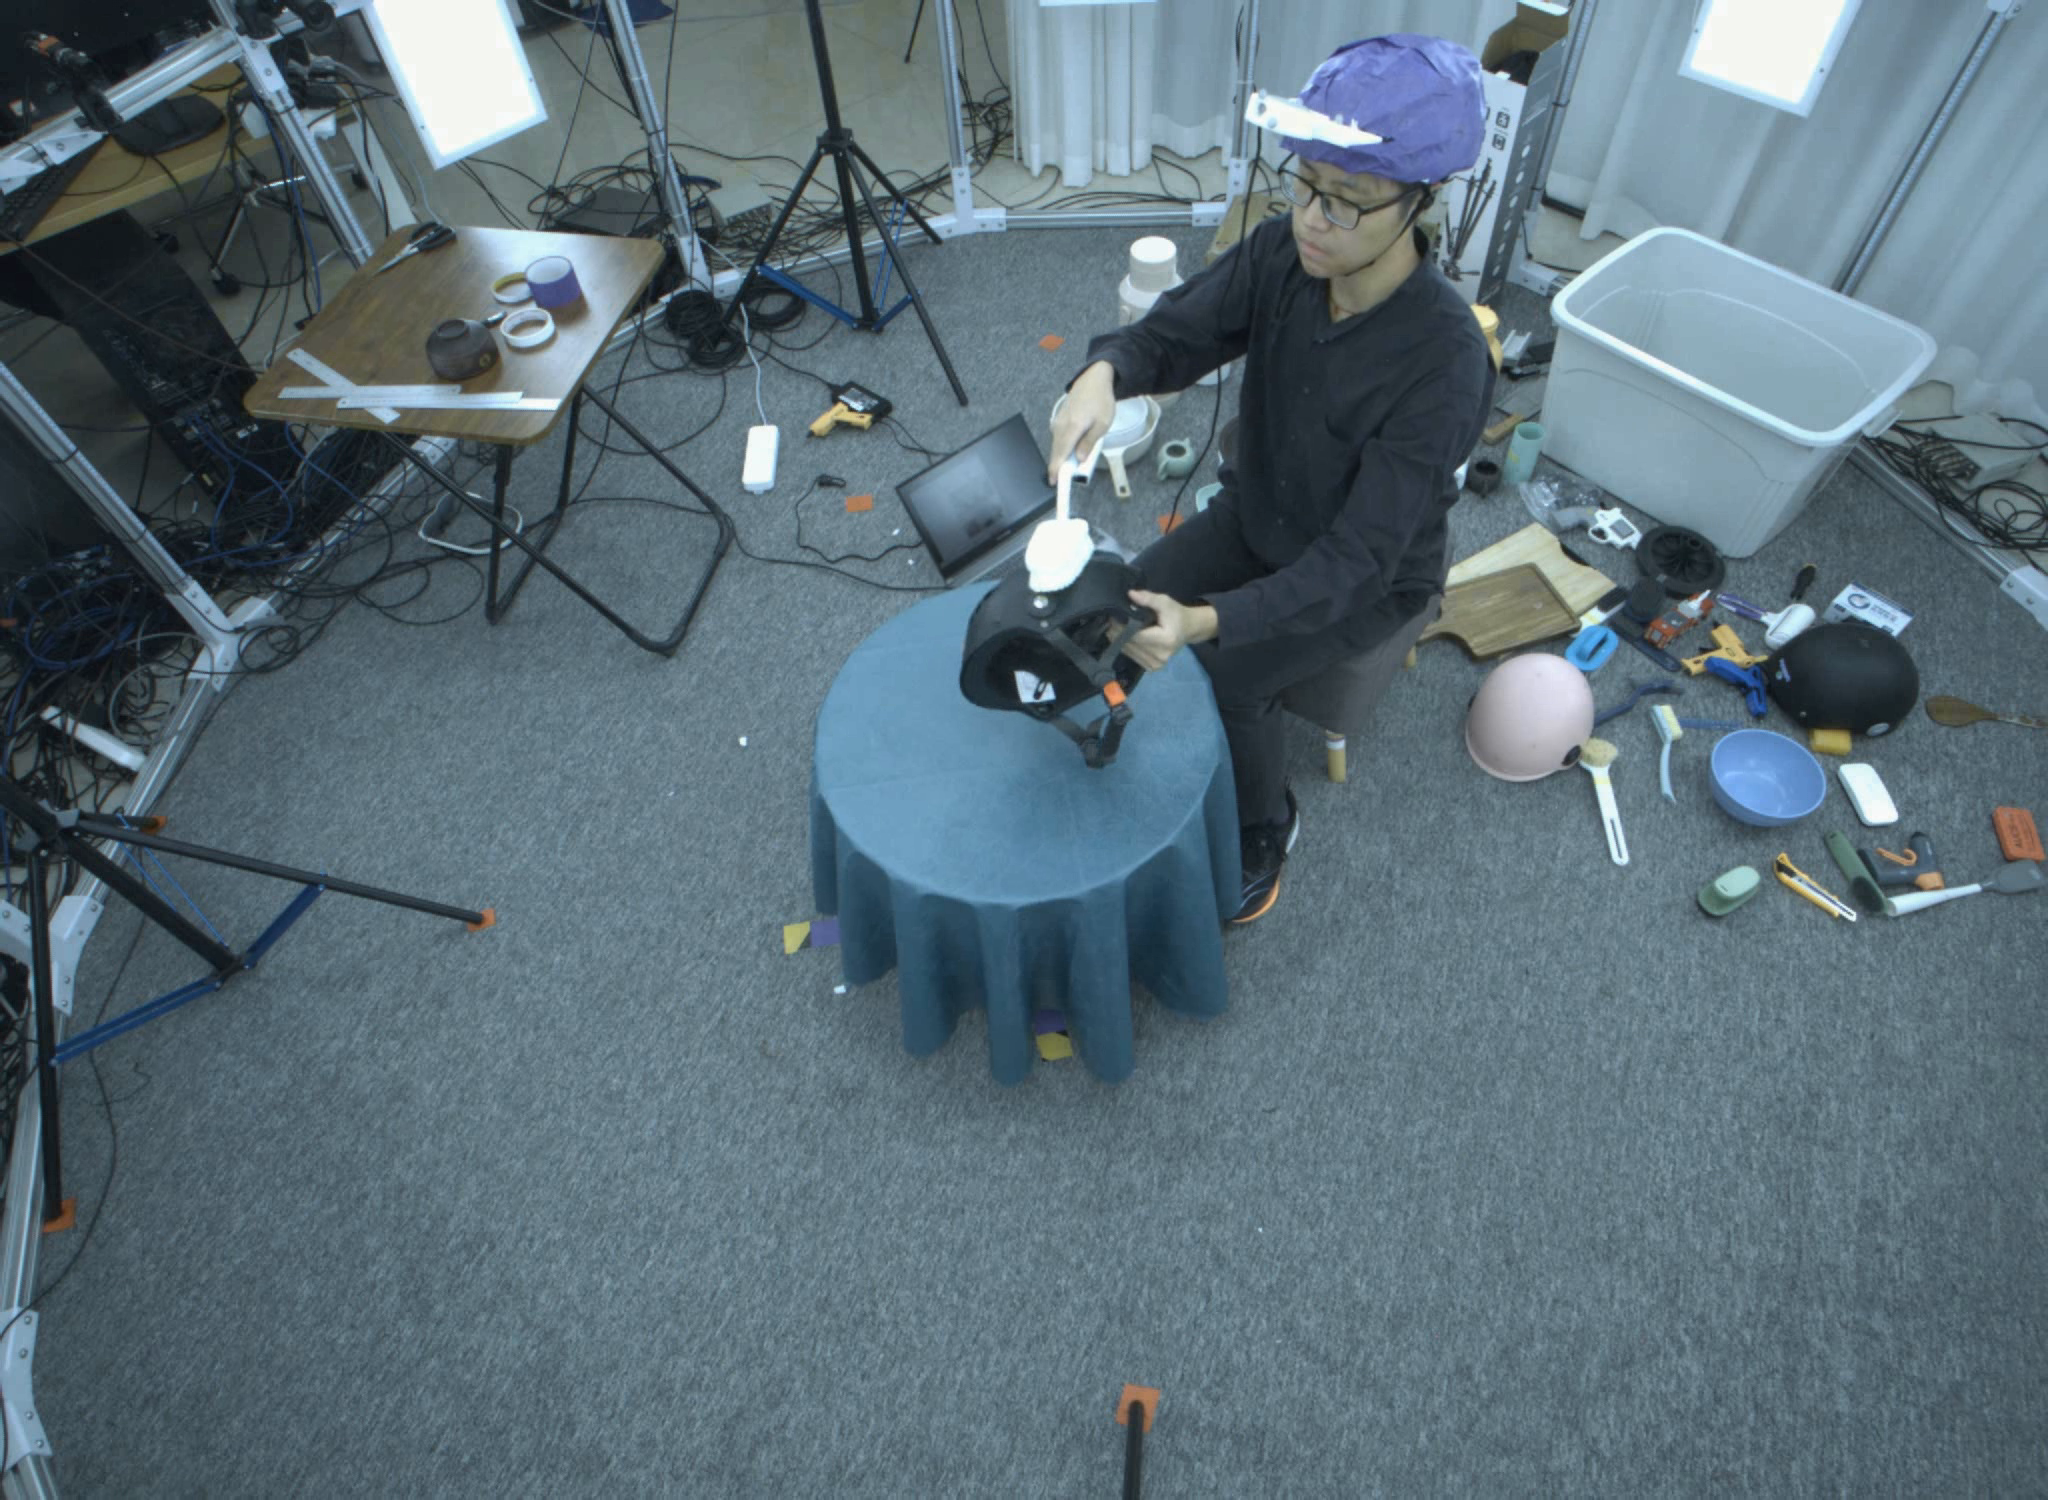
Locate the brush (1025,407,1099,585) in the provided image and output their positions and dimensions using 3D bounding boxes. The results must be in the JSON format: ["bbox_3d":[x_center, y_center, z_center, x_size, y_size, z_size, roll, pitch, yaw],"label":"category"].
[{"bbox_3d":[0.066,-0.326,1.602,0.084,0.084,0.324,24,54,-11],"label":"brush"}]

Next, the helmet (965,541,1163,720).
[{"bbox_3d":[0.045,-0.168,1.635,0.278,0.249,0.170,-14,60,-7],"label":"helmet"}]
